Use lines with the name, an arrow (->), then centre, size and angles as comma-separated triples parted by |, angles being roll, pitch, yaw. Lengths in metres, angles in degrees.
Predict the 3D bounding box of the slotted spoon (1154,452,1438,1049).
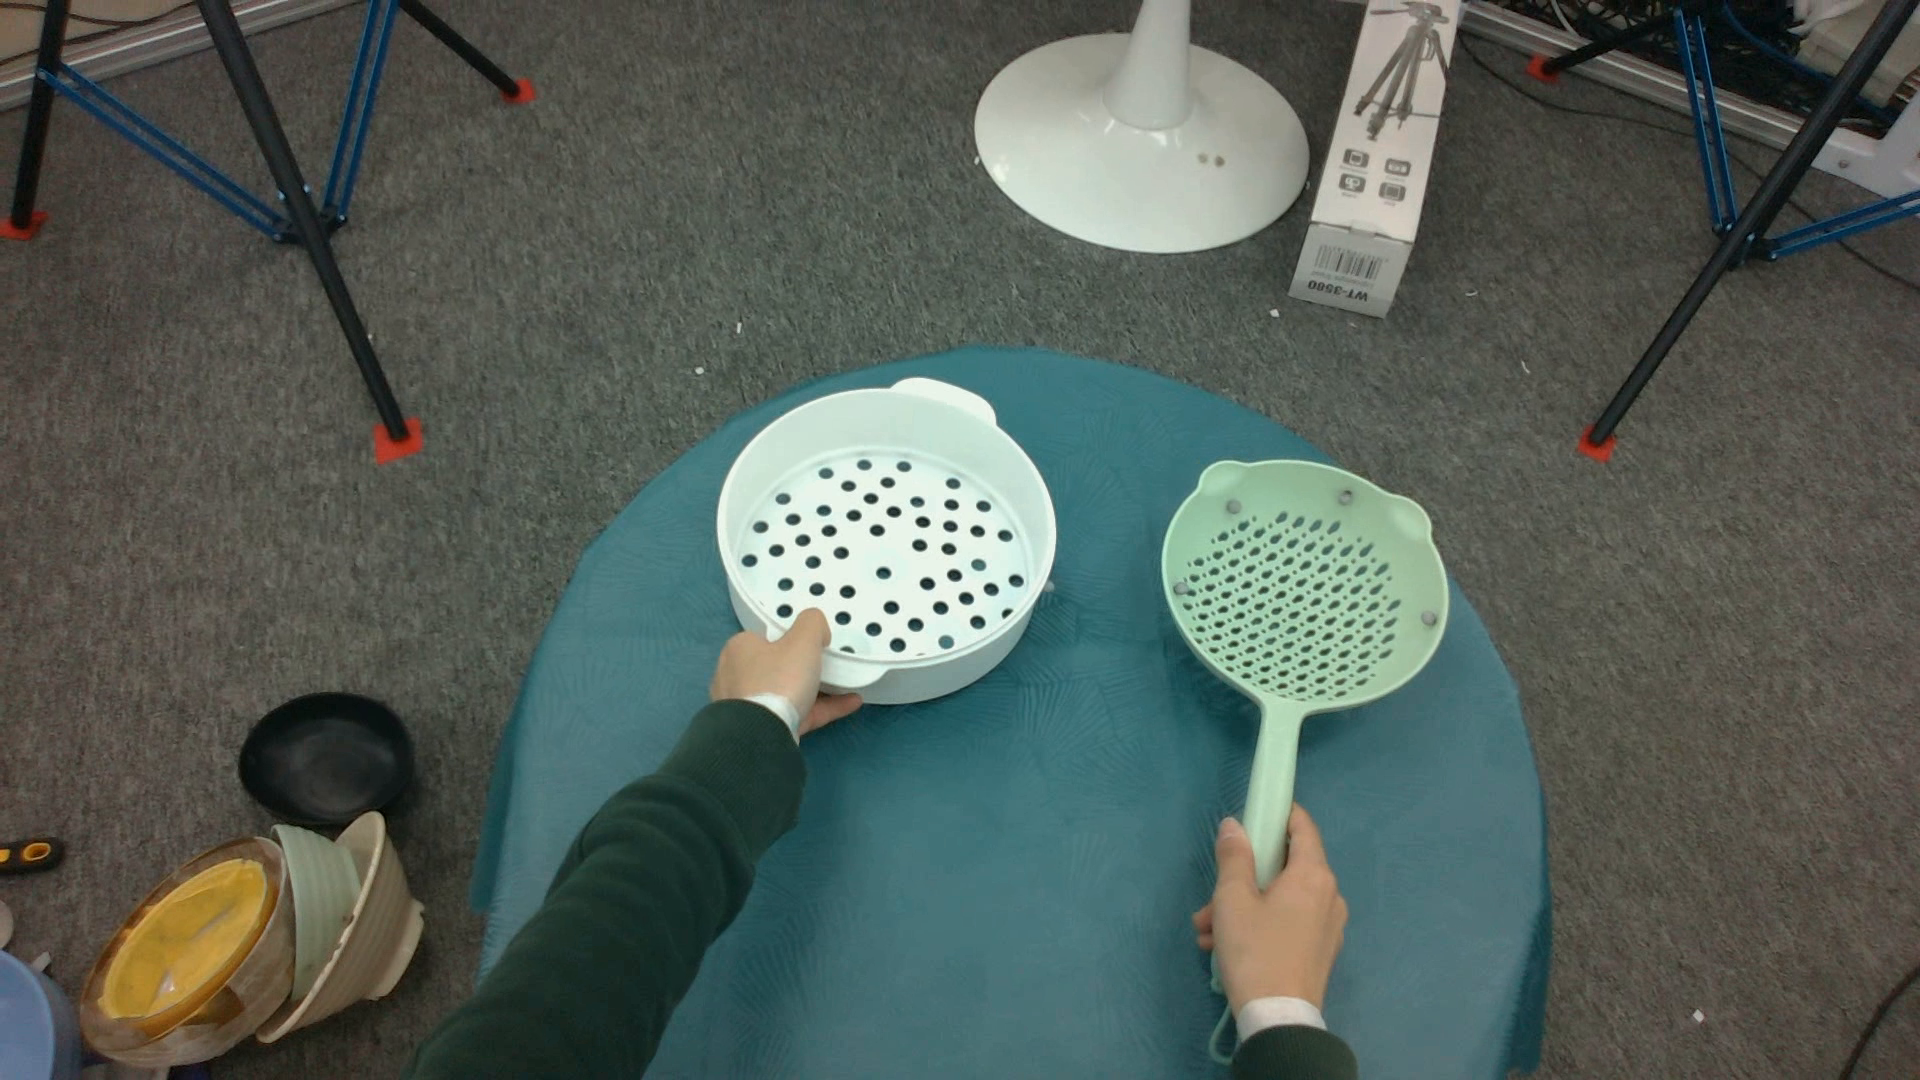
slotted spoon -> 0.174, 0.102, 0.778 | 0.169, 0.075, 0.361 | 13, 50, 8

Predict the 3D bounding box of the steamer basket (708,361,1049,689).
steamer basket -> -0.050, -0.005, 0.838 | 0.202, 0.069, 0.232 | 19, 56, 6
